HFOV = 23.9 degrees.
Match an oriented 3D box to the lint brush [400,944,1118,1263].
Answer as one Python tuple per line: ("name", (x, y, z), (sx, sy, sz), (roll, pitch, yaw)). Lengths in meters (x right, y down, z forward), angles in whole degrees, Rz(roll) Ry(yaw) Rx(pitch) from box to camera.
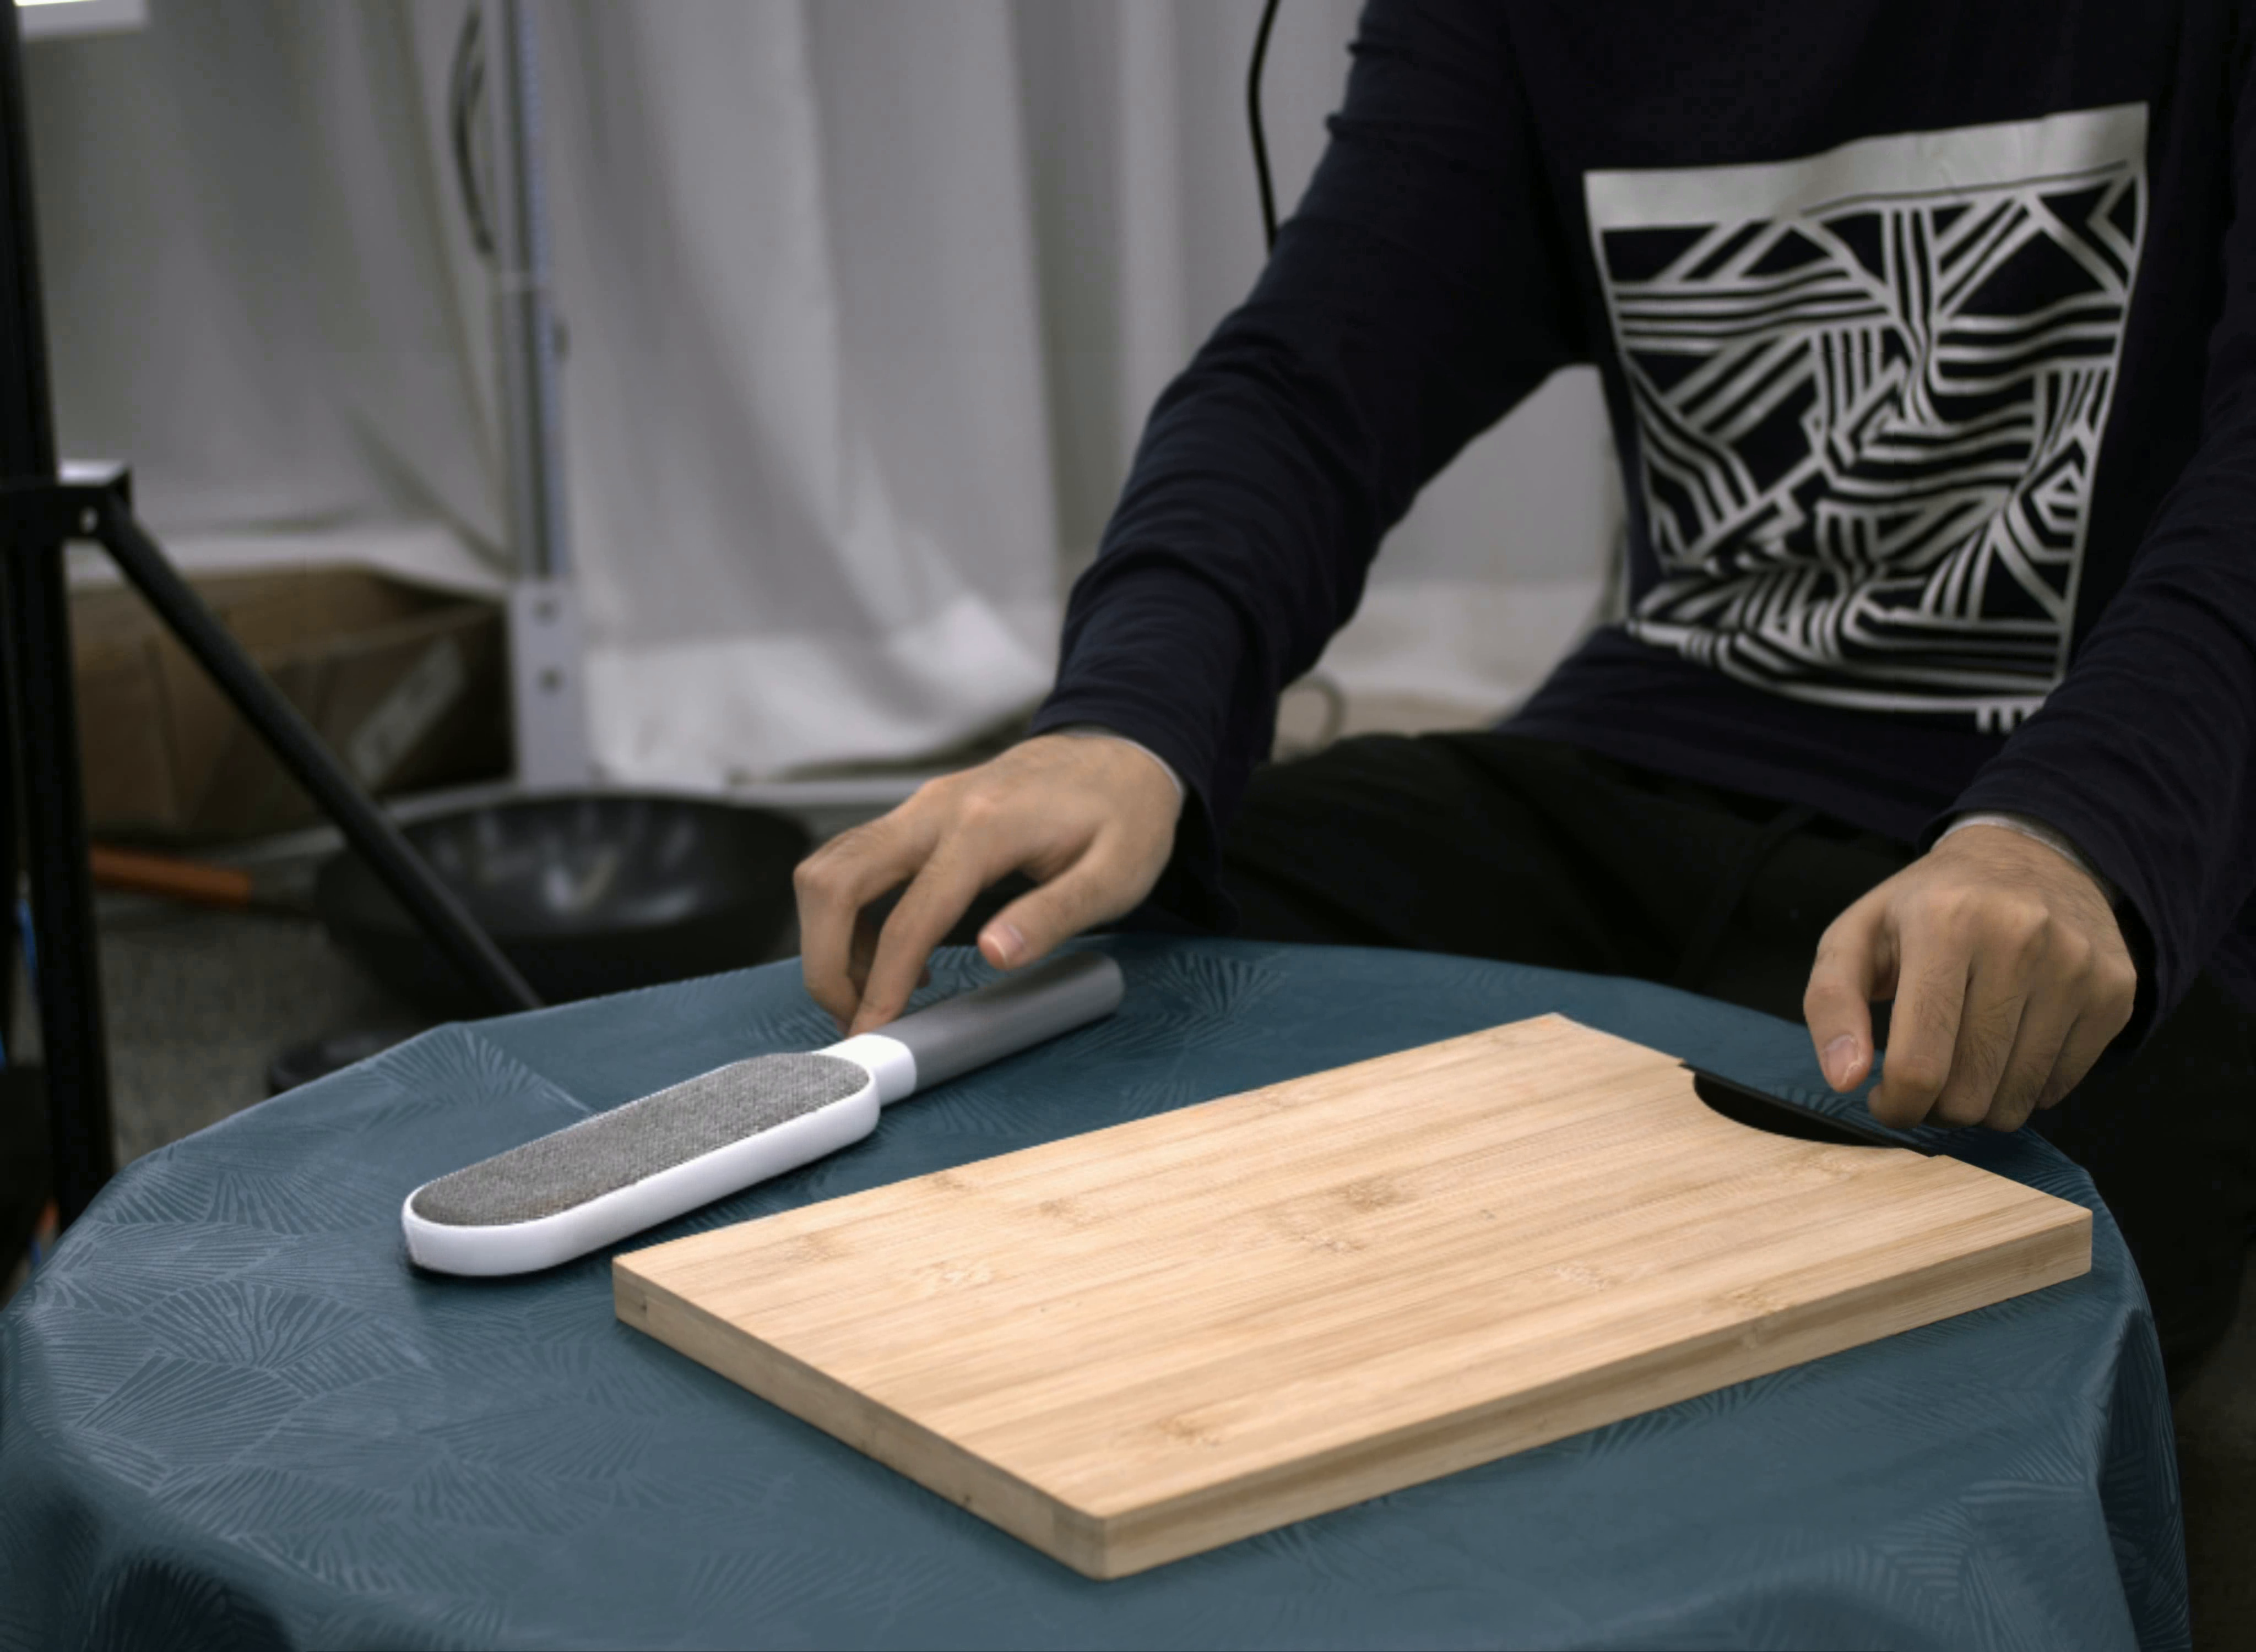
("lint brush", (-0.102, 0.082, 1.621), (0.061, 0.021, 0.302), (4, 16, 40))

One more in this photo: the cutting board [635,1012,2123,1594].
("cutting board", (0.068, 0.122, 1.472), (0.341, 0.023, 0.256), (-13, 19, -32))
